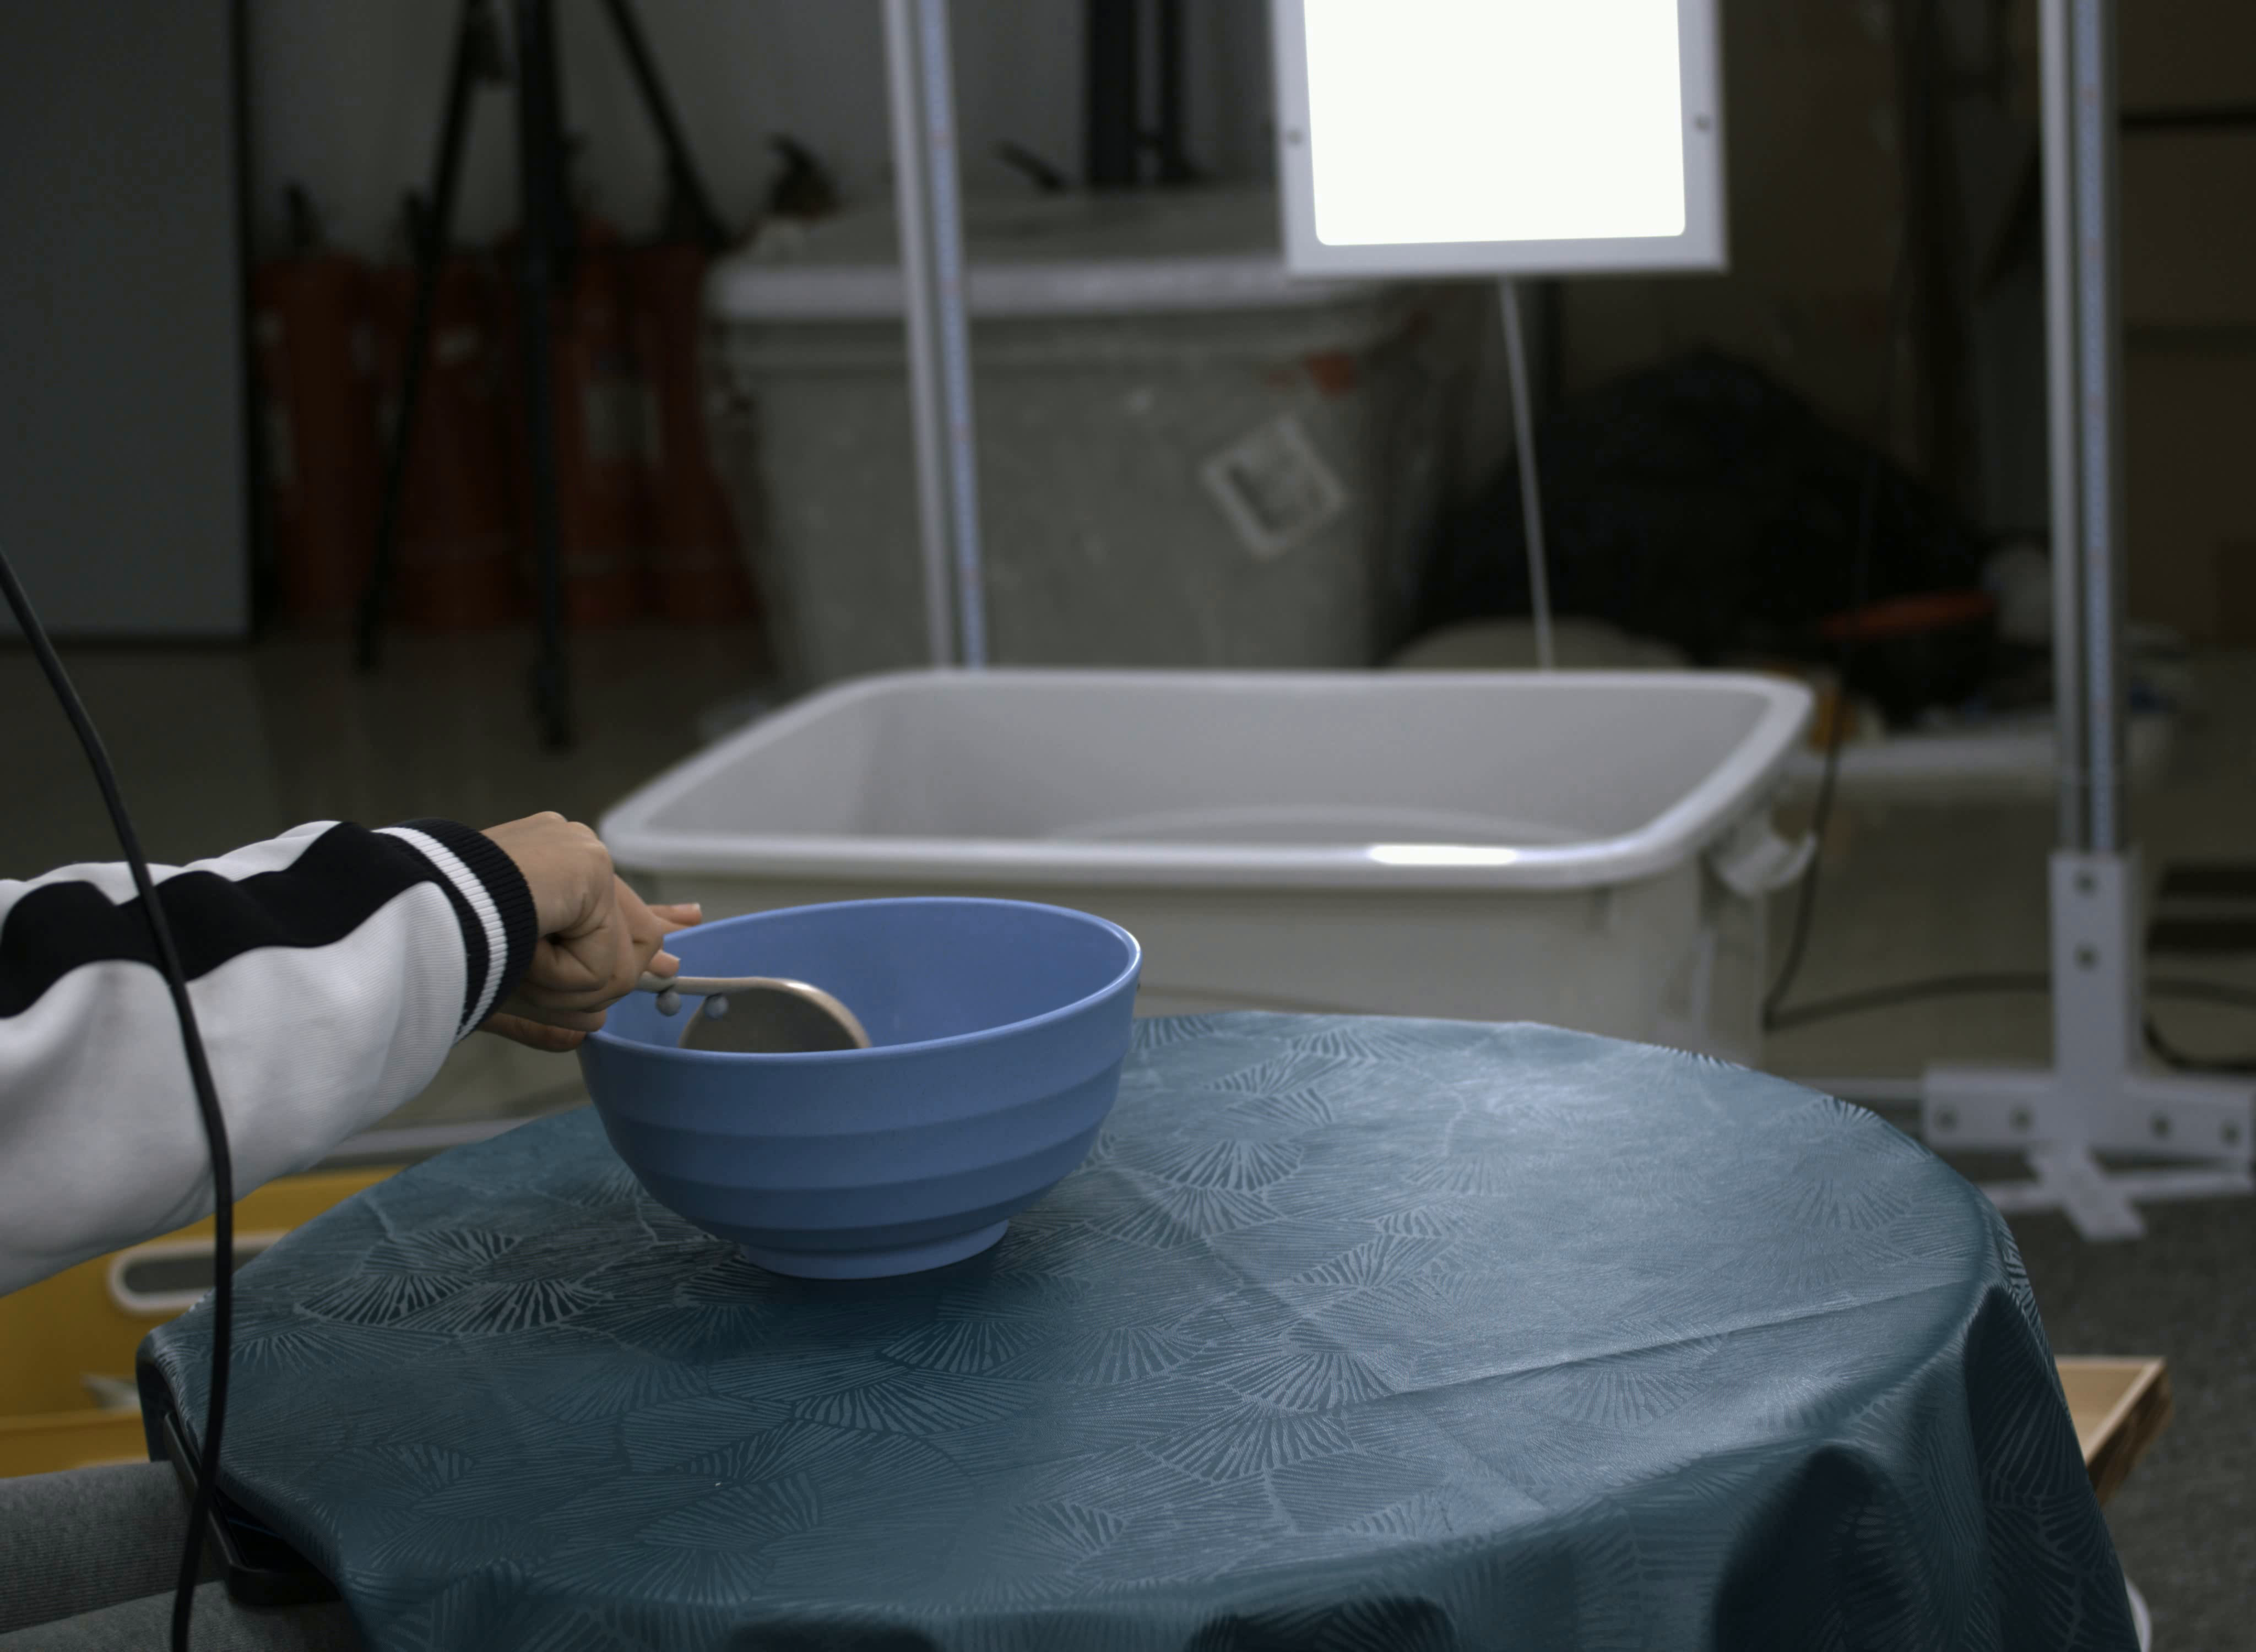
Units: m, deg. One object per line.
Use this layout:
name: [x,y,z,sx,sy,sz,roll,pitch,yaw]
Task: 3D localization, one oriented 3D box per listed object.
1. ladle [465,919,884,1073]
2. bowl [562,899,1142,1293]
ladle: [-0.152,0.078,1.800,0.073,0.073,0.250,-3,-7,21]
bowl: [-0.089,0.098,1.865,0.196,0.096,0.196,-5,16,0]
